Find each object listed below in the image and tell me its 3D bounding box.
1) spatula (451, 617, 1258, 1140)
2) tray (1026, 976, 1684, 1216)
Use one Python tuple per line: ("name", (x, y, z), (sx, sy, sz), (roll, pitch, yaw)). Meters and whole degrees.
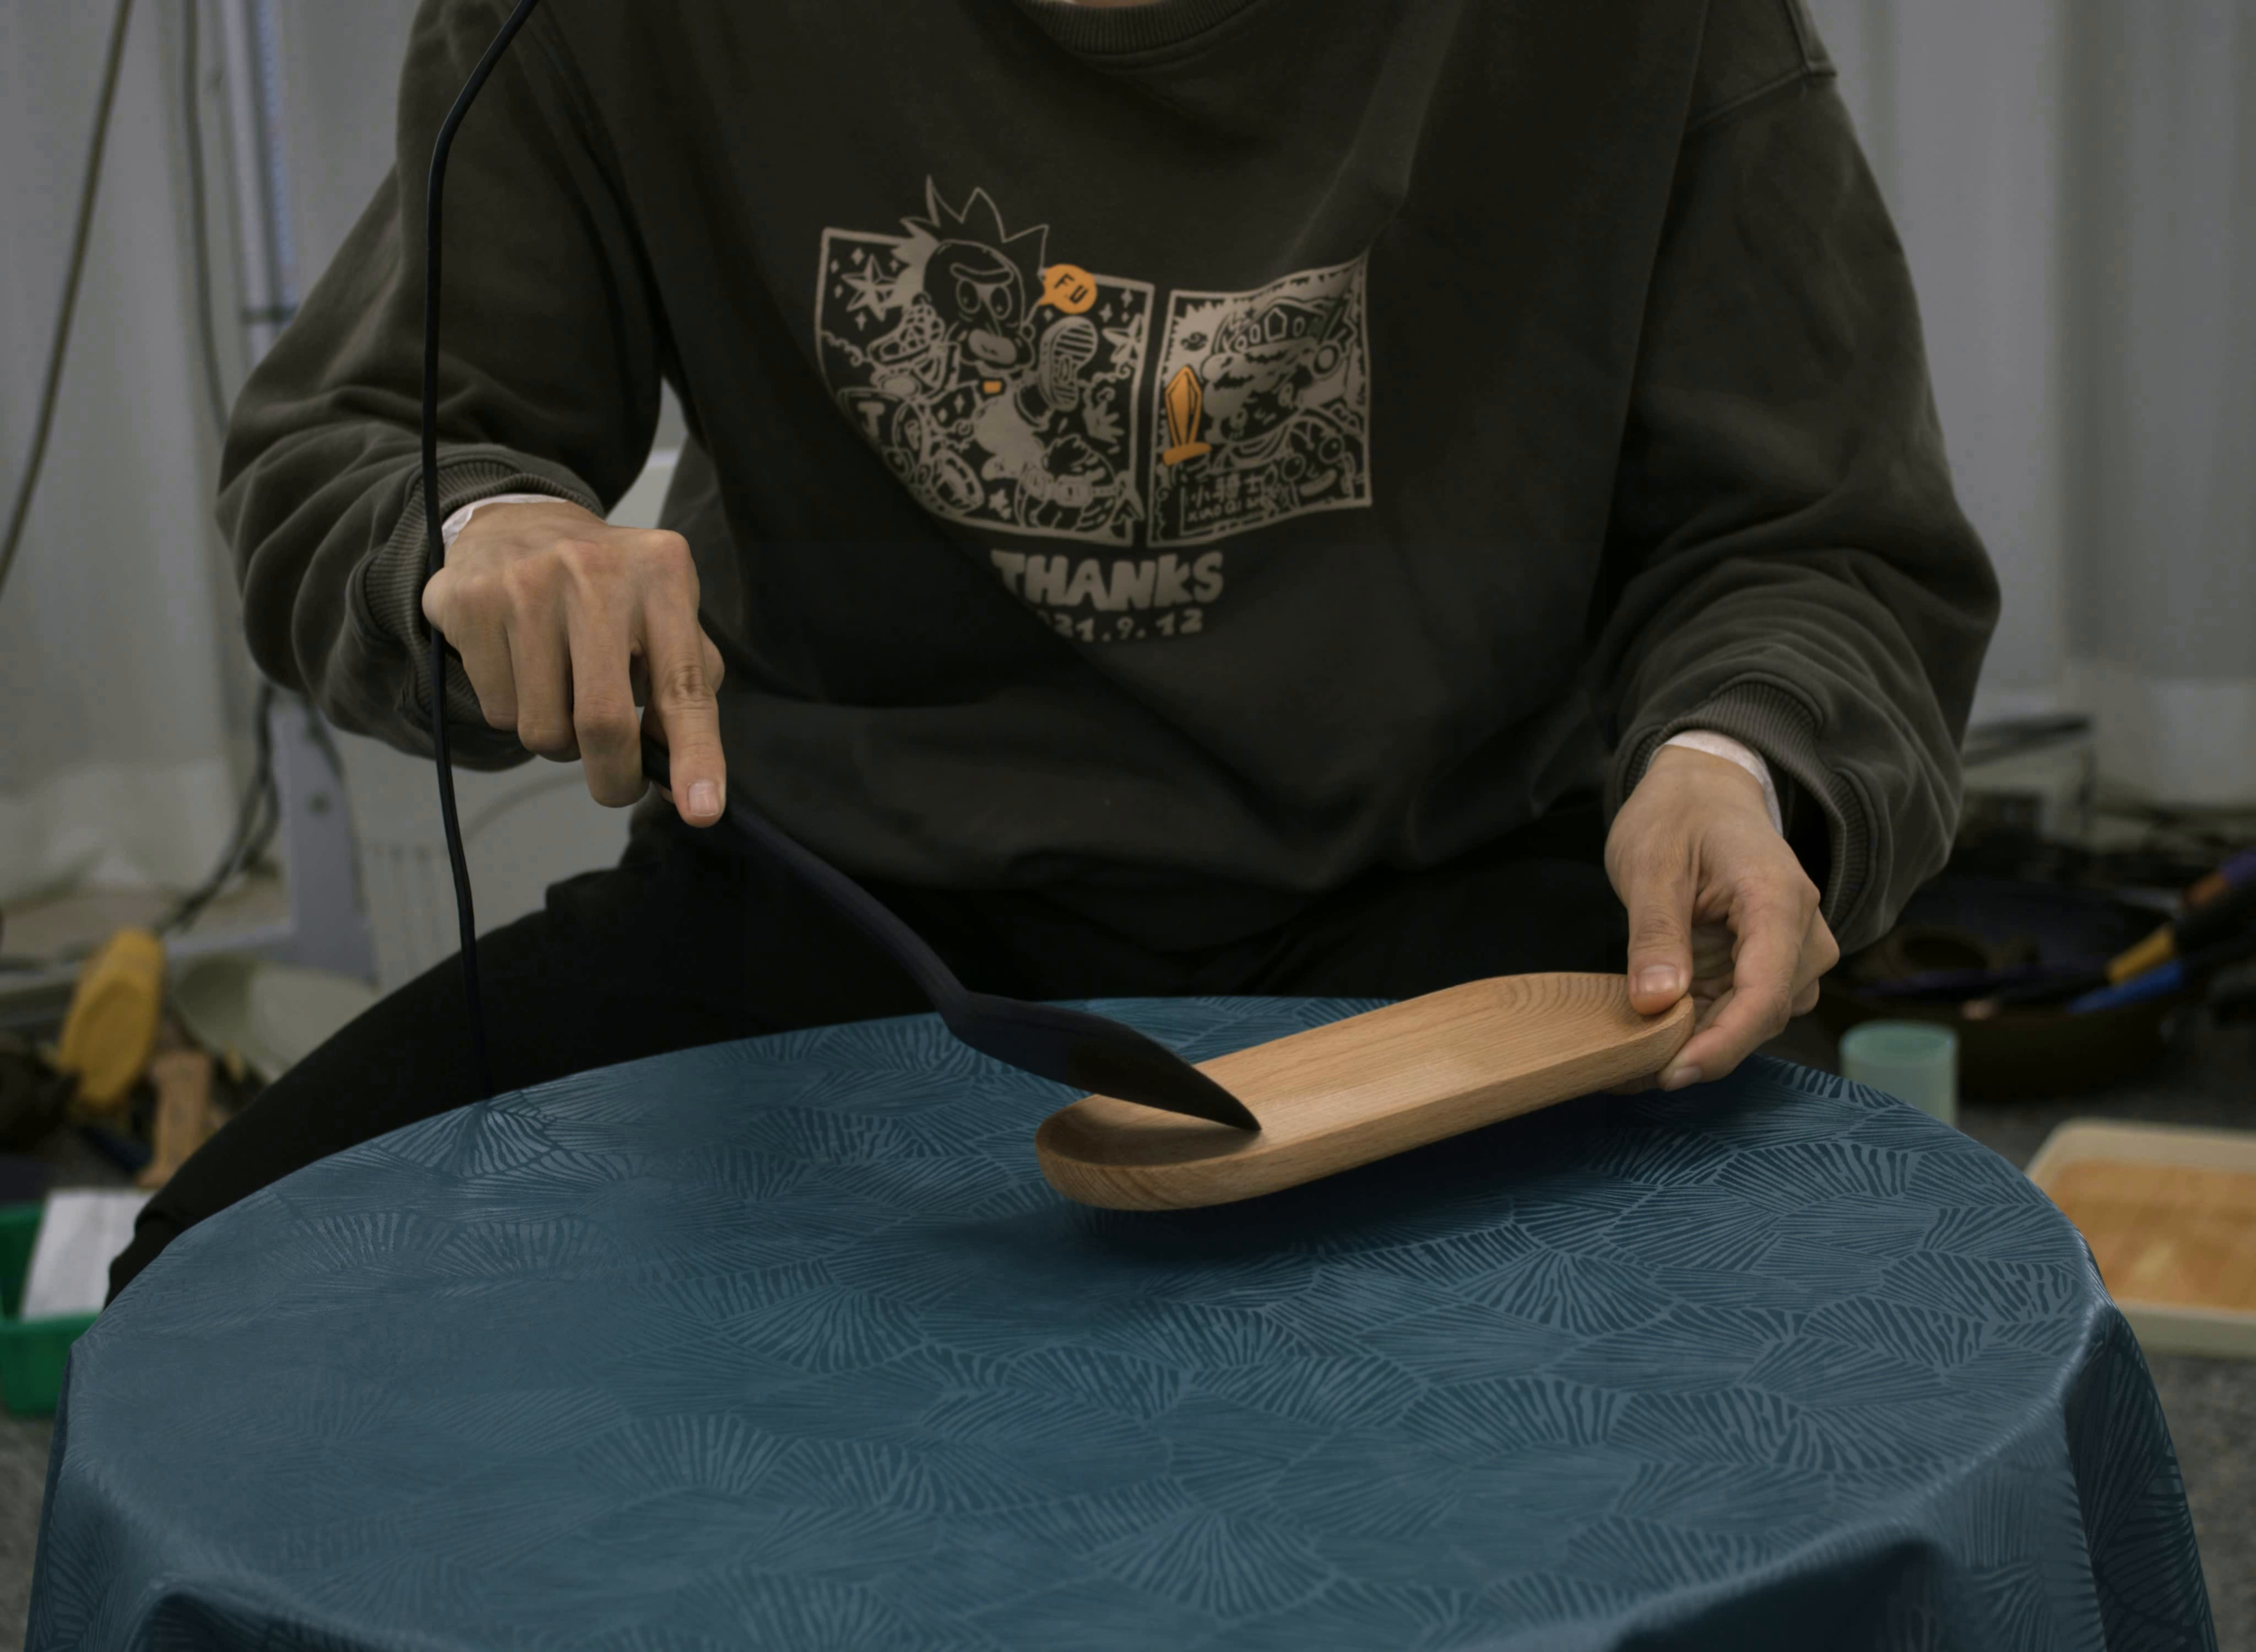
("spatula", (-0.096, 0.010, 1.721), (0.329, 0.040, 0.098), (37, -4, 28))
("tray", (0.073, 0.084, 1.712), (0.230, 0.020, 0.102), (-16, 15, -31))
